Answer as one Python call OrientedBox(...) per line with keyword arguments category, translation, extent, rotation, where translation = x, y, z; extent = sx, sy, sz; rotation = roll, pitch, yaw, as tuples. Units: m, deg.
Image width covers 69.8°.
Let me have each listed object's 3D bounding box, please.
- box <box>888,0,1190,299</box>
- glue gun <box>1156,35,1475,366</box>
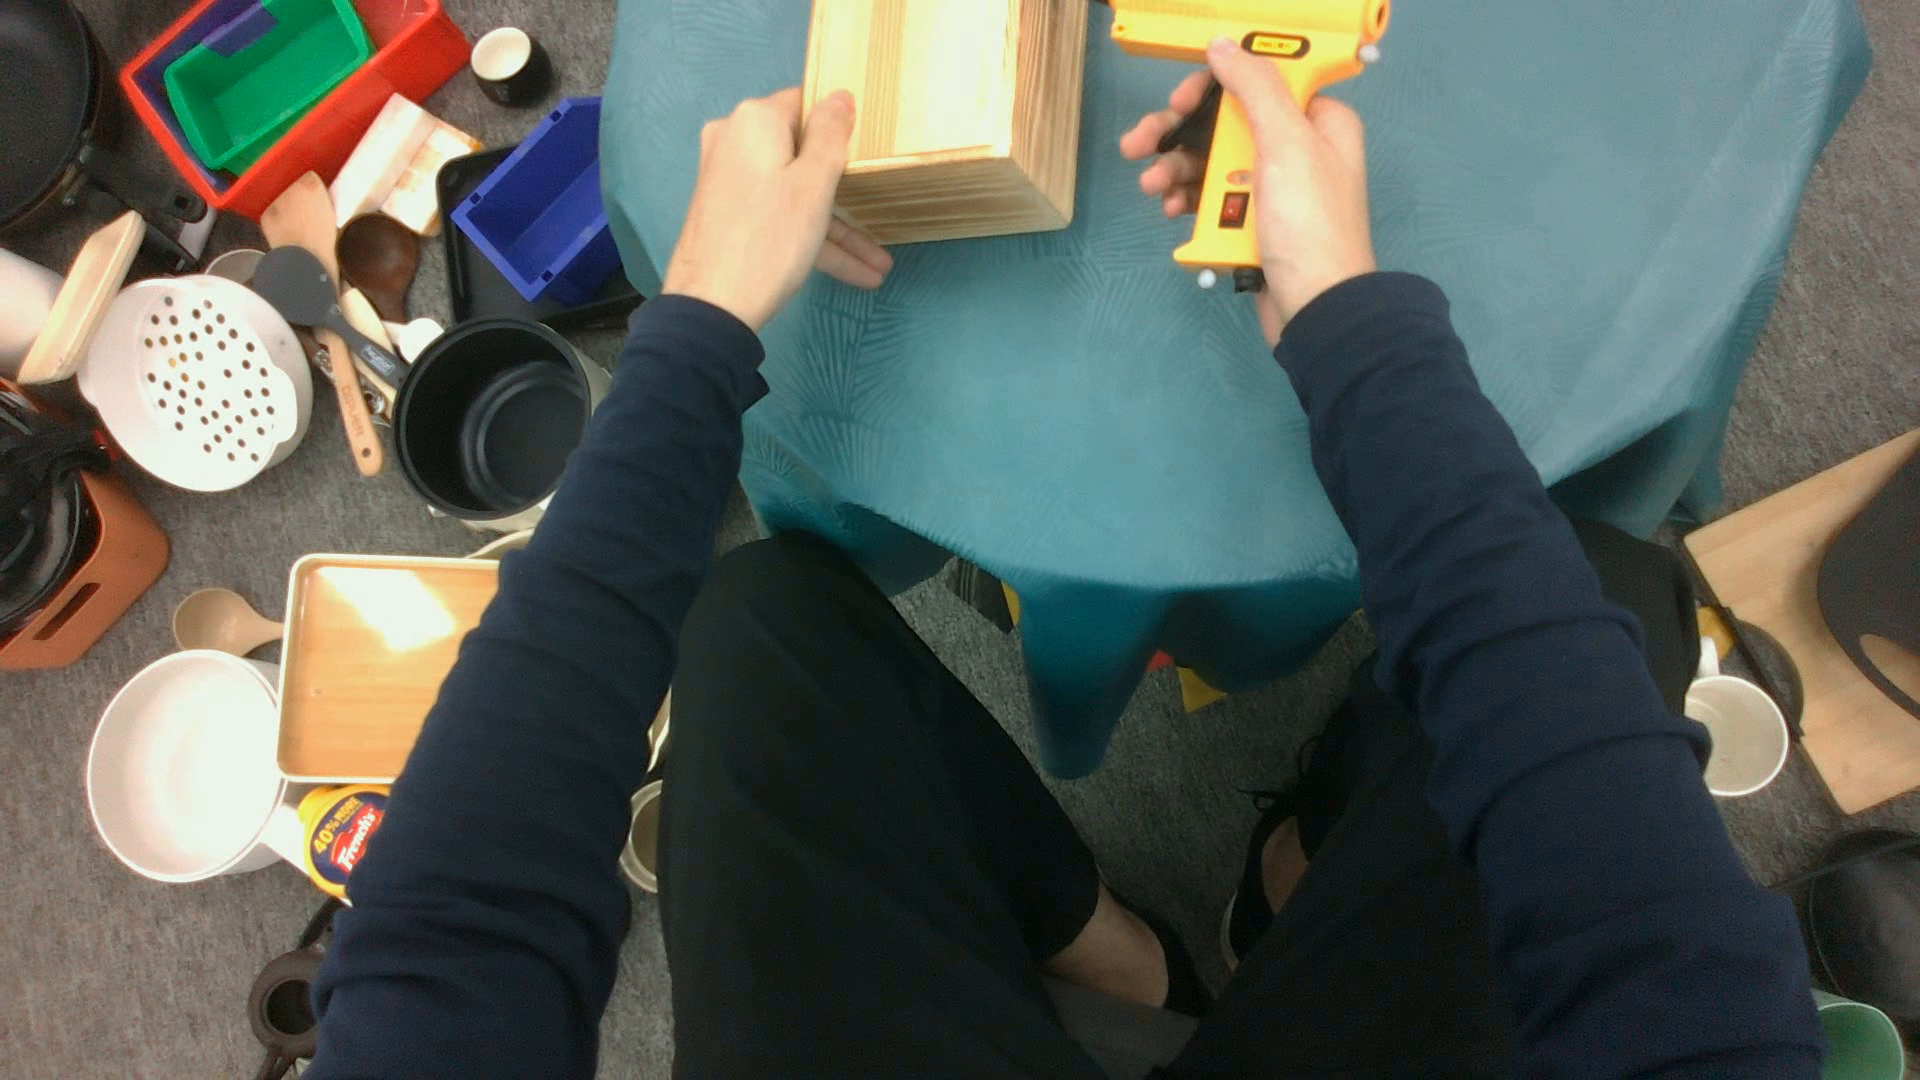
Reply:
OrientedBox(category="box", translation=(0.045, -0.233, 0.673), extent=(0.107, 0.080, 0.212), rotation=(2, 77, 29))
OrientedBox(category="glue gun", translation=(0.132, -0.160, 0.608), extent=(0.151, 0.031, 0.133), rotation=(28, 99, 35))
